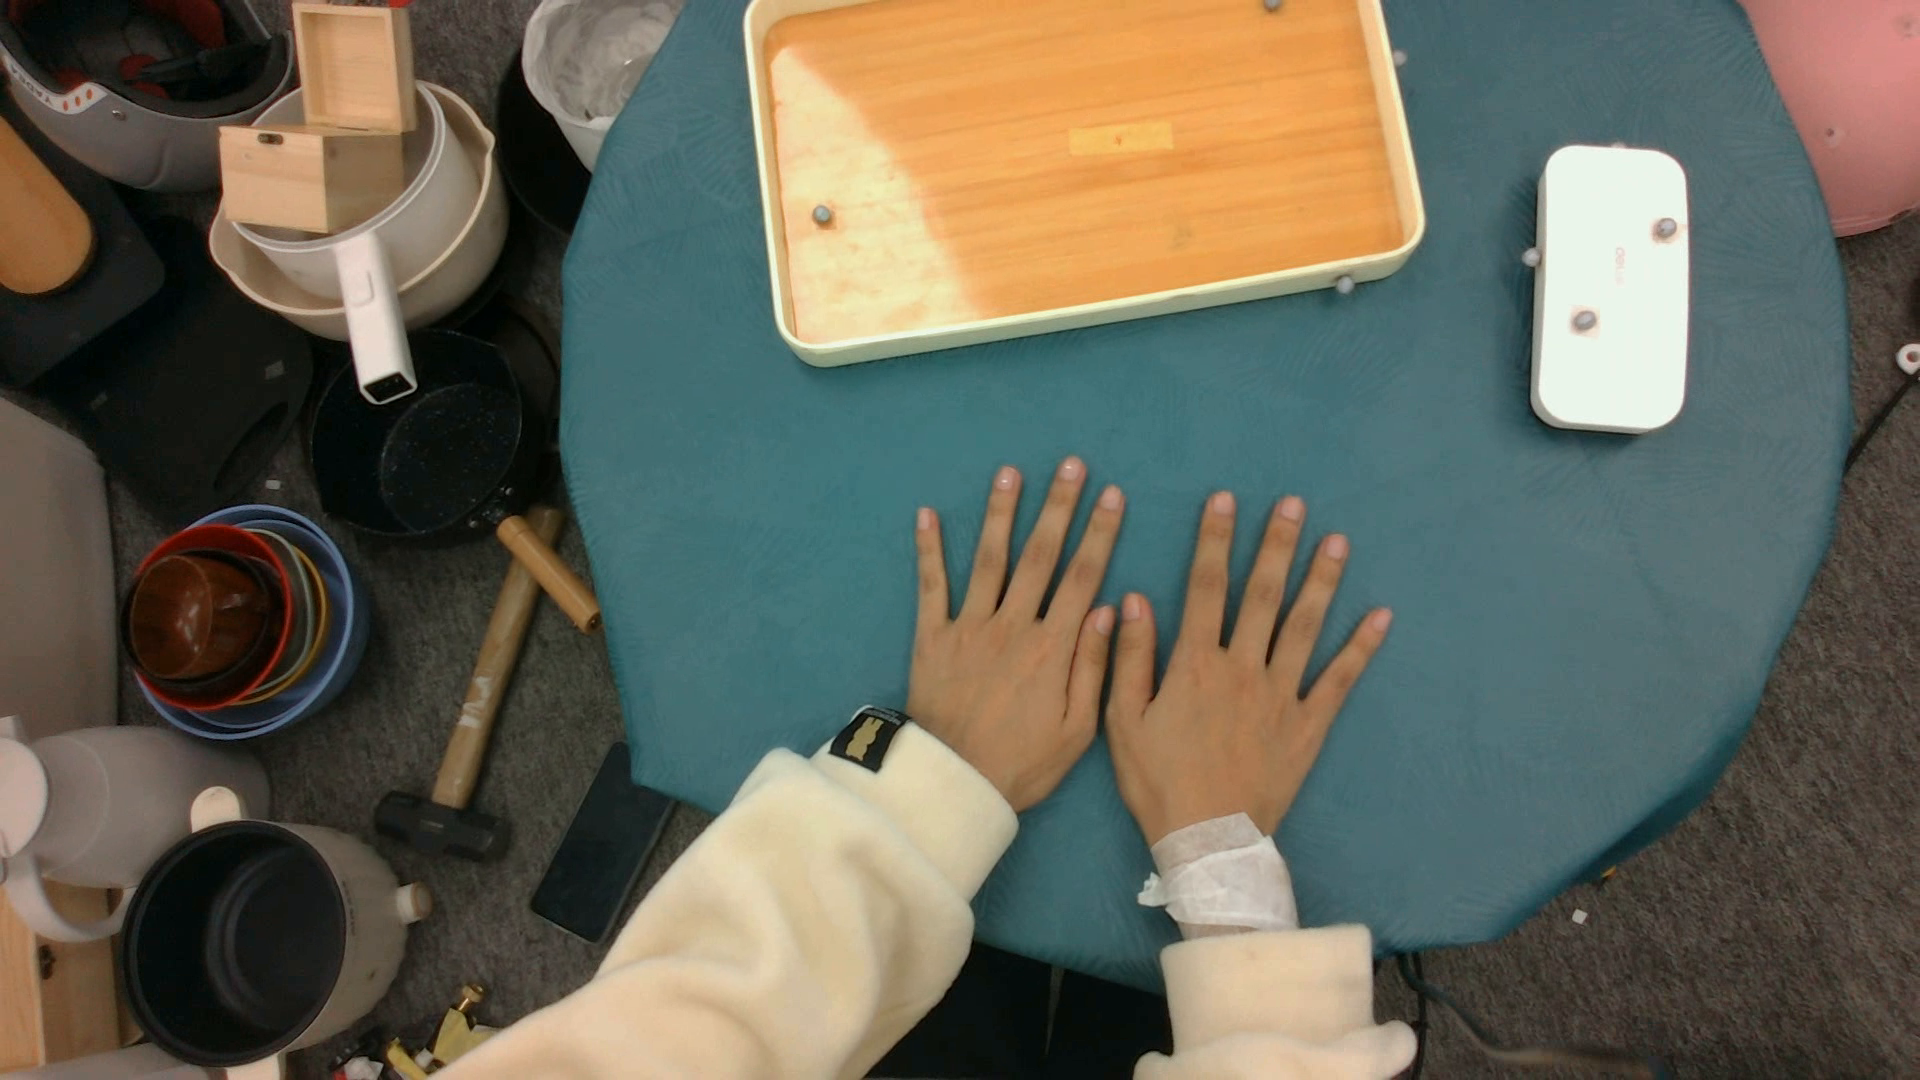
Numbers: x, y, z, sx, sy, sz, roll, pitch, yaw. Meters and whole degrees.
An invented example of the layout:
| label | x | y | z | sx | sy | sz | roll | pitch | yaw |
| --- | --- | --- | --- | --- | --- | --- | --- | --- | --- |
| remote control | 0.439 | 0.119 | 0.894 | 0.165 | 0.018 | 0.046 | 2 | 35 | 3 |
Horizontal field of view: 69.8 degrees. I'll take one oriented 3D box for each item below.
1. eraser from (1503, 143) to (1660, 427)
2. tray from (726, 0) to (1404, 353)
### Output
| label | x | y | z | sx | sy | sz | roll | pitch | yaw |
| --- | --- | --- | --- | --- | --- | --- | --- | --- | --- |
| eraser | 0.278 | -0.116 | 0.622 | 0.063 | 0.034 | 0.131 | 7 | 78 | 5 |
| tray | 0.044 | -0.201 | 0.660 | 0.300 | 0.027 | 0.192 | -8 | 77 | 2 |
